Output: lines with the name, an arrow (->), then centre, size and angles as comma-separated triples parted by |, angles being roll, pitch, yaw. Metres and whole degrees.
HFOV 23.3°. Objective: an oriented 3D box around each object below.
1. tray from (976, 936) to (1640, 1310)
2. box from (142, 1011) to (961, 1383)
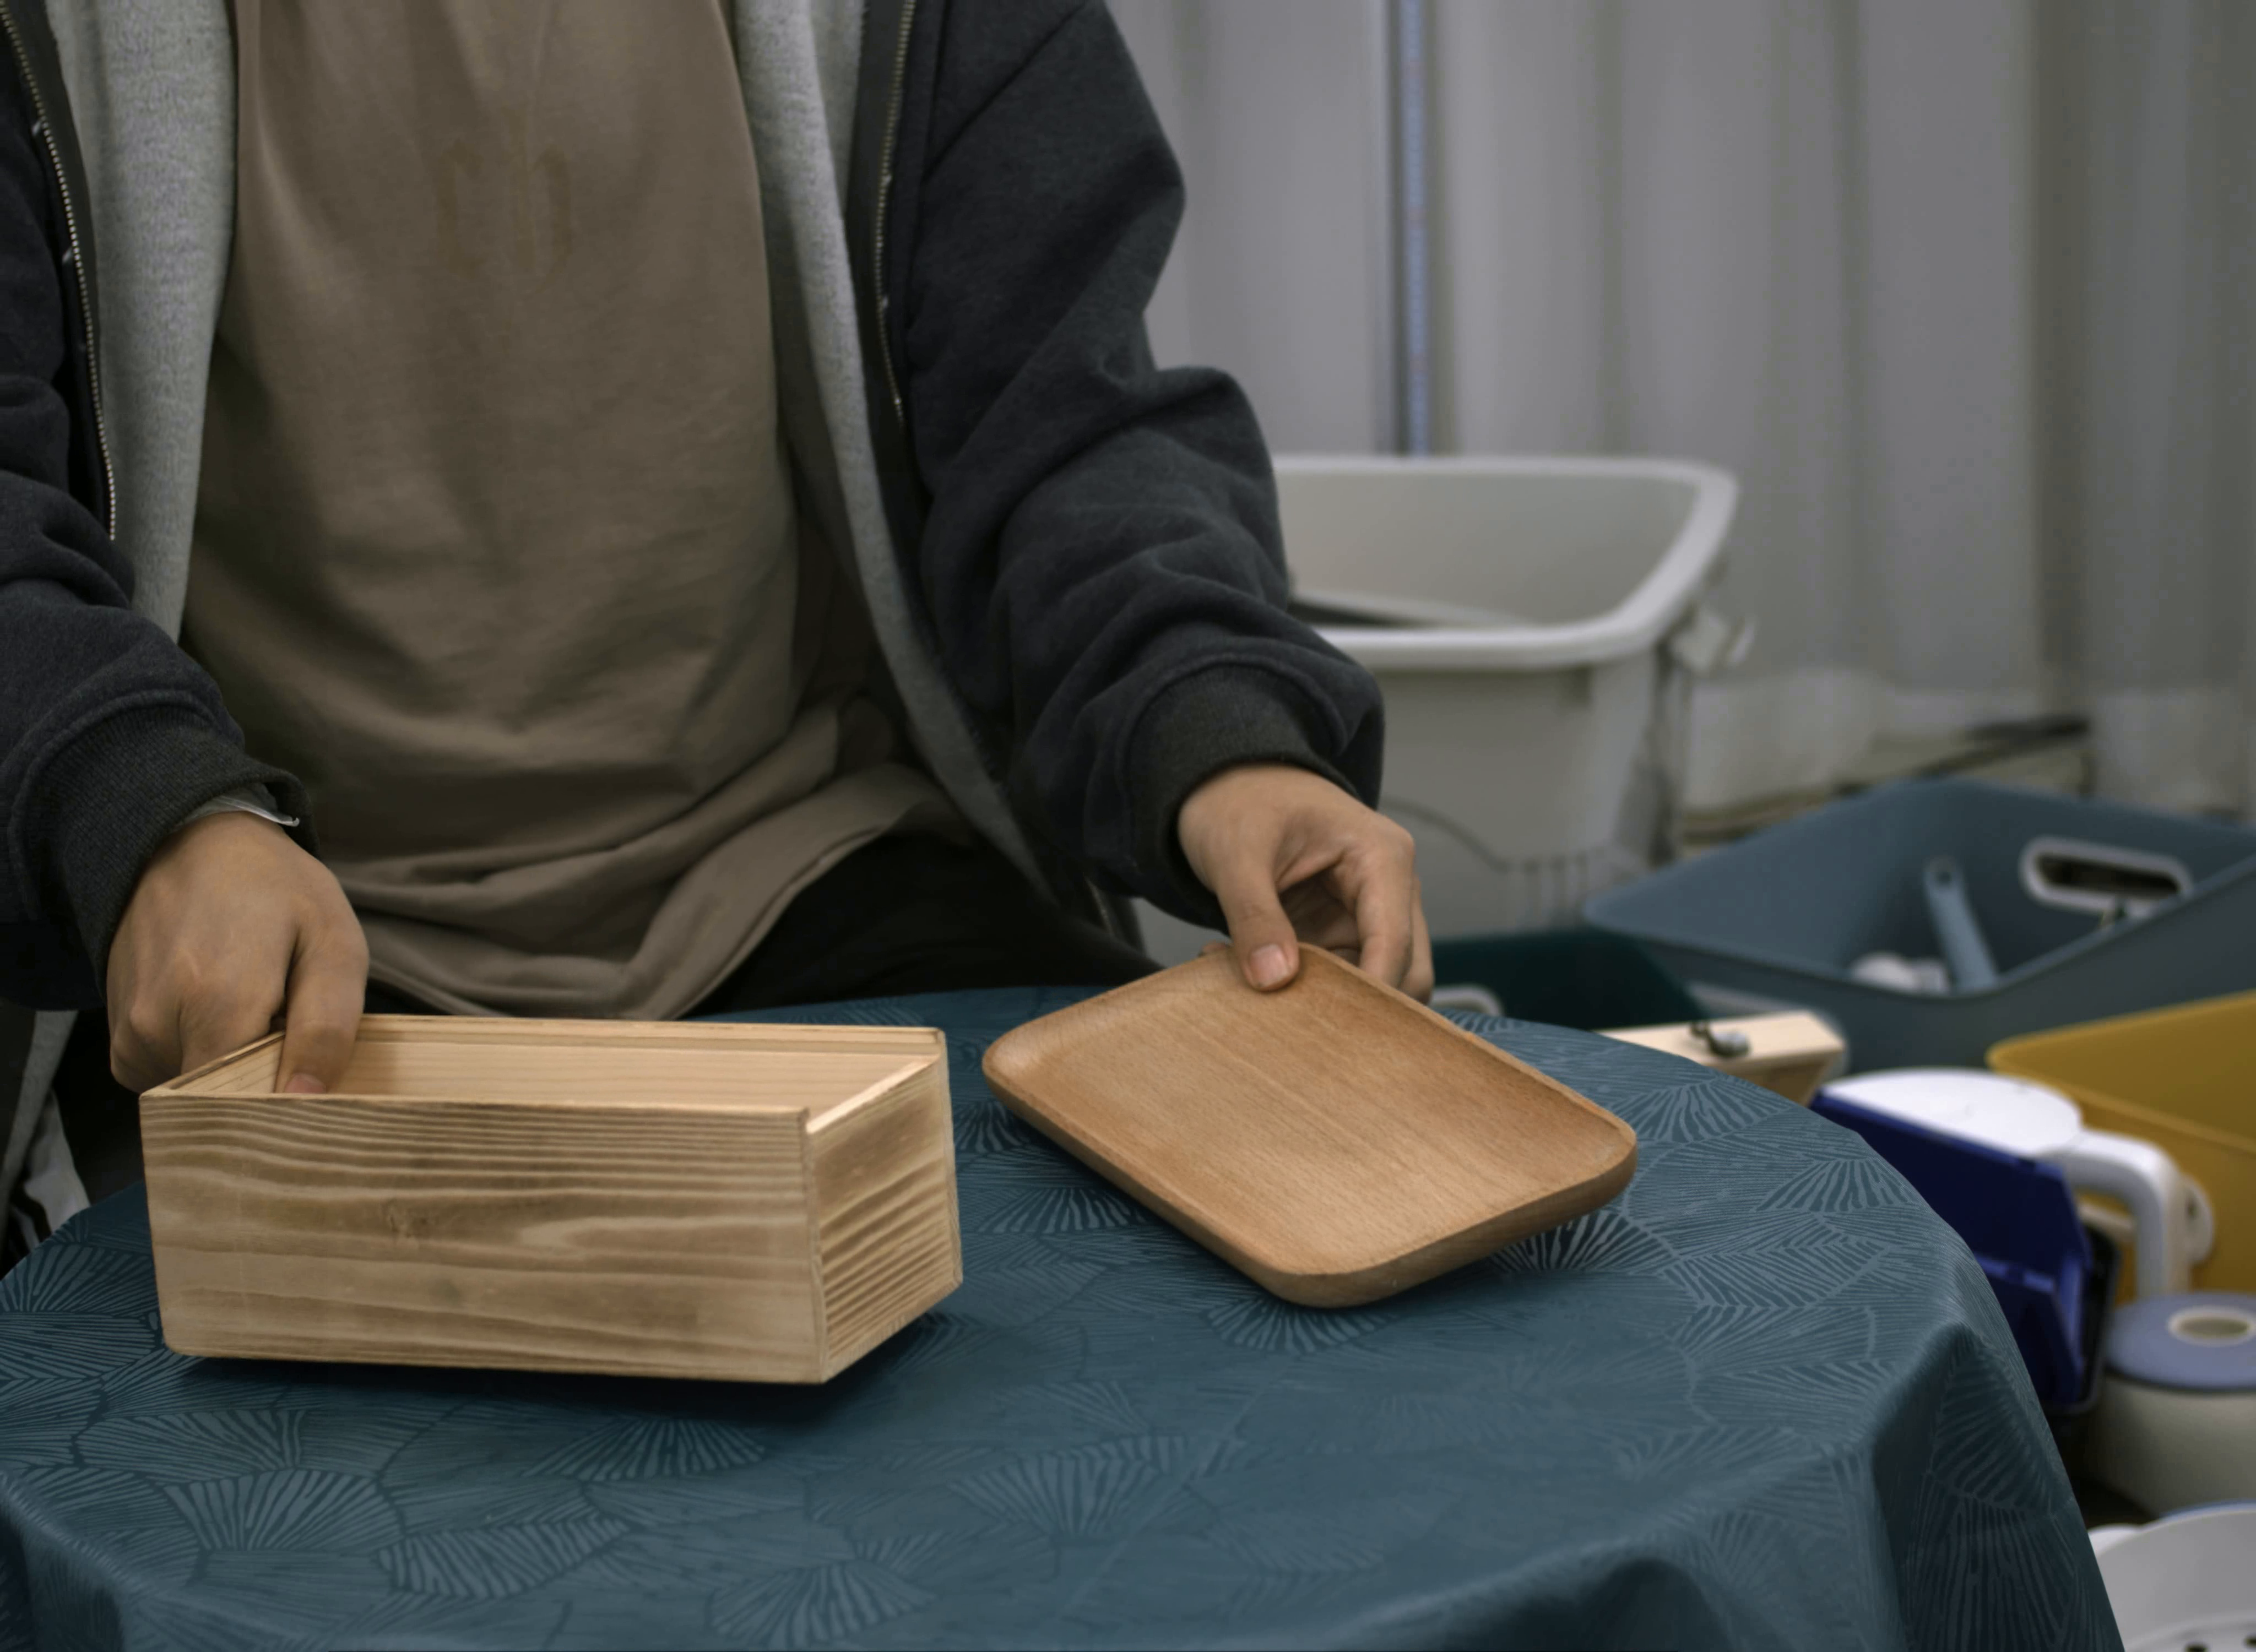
tray -> 0.052, 0.090, 1.713 | 0.130, 0.023, 0.253 | -17, 21, -21
box -> -0.167, 0.106, 1.600 | 0.211, 0.080, 0.107 | 0, 11, 21
